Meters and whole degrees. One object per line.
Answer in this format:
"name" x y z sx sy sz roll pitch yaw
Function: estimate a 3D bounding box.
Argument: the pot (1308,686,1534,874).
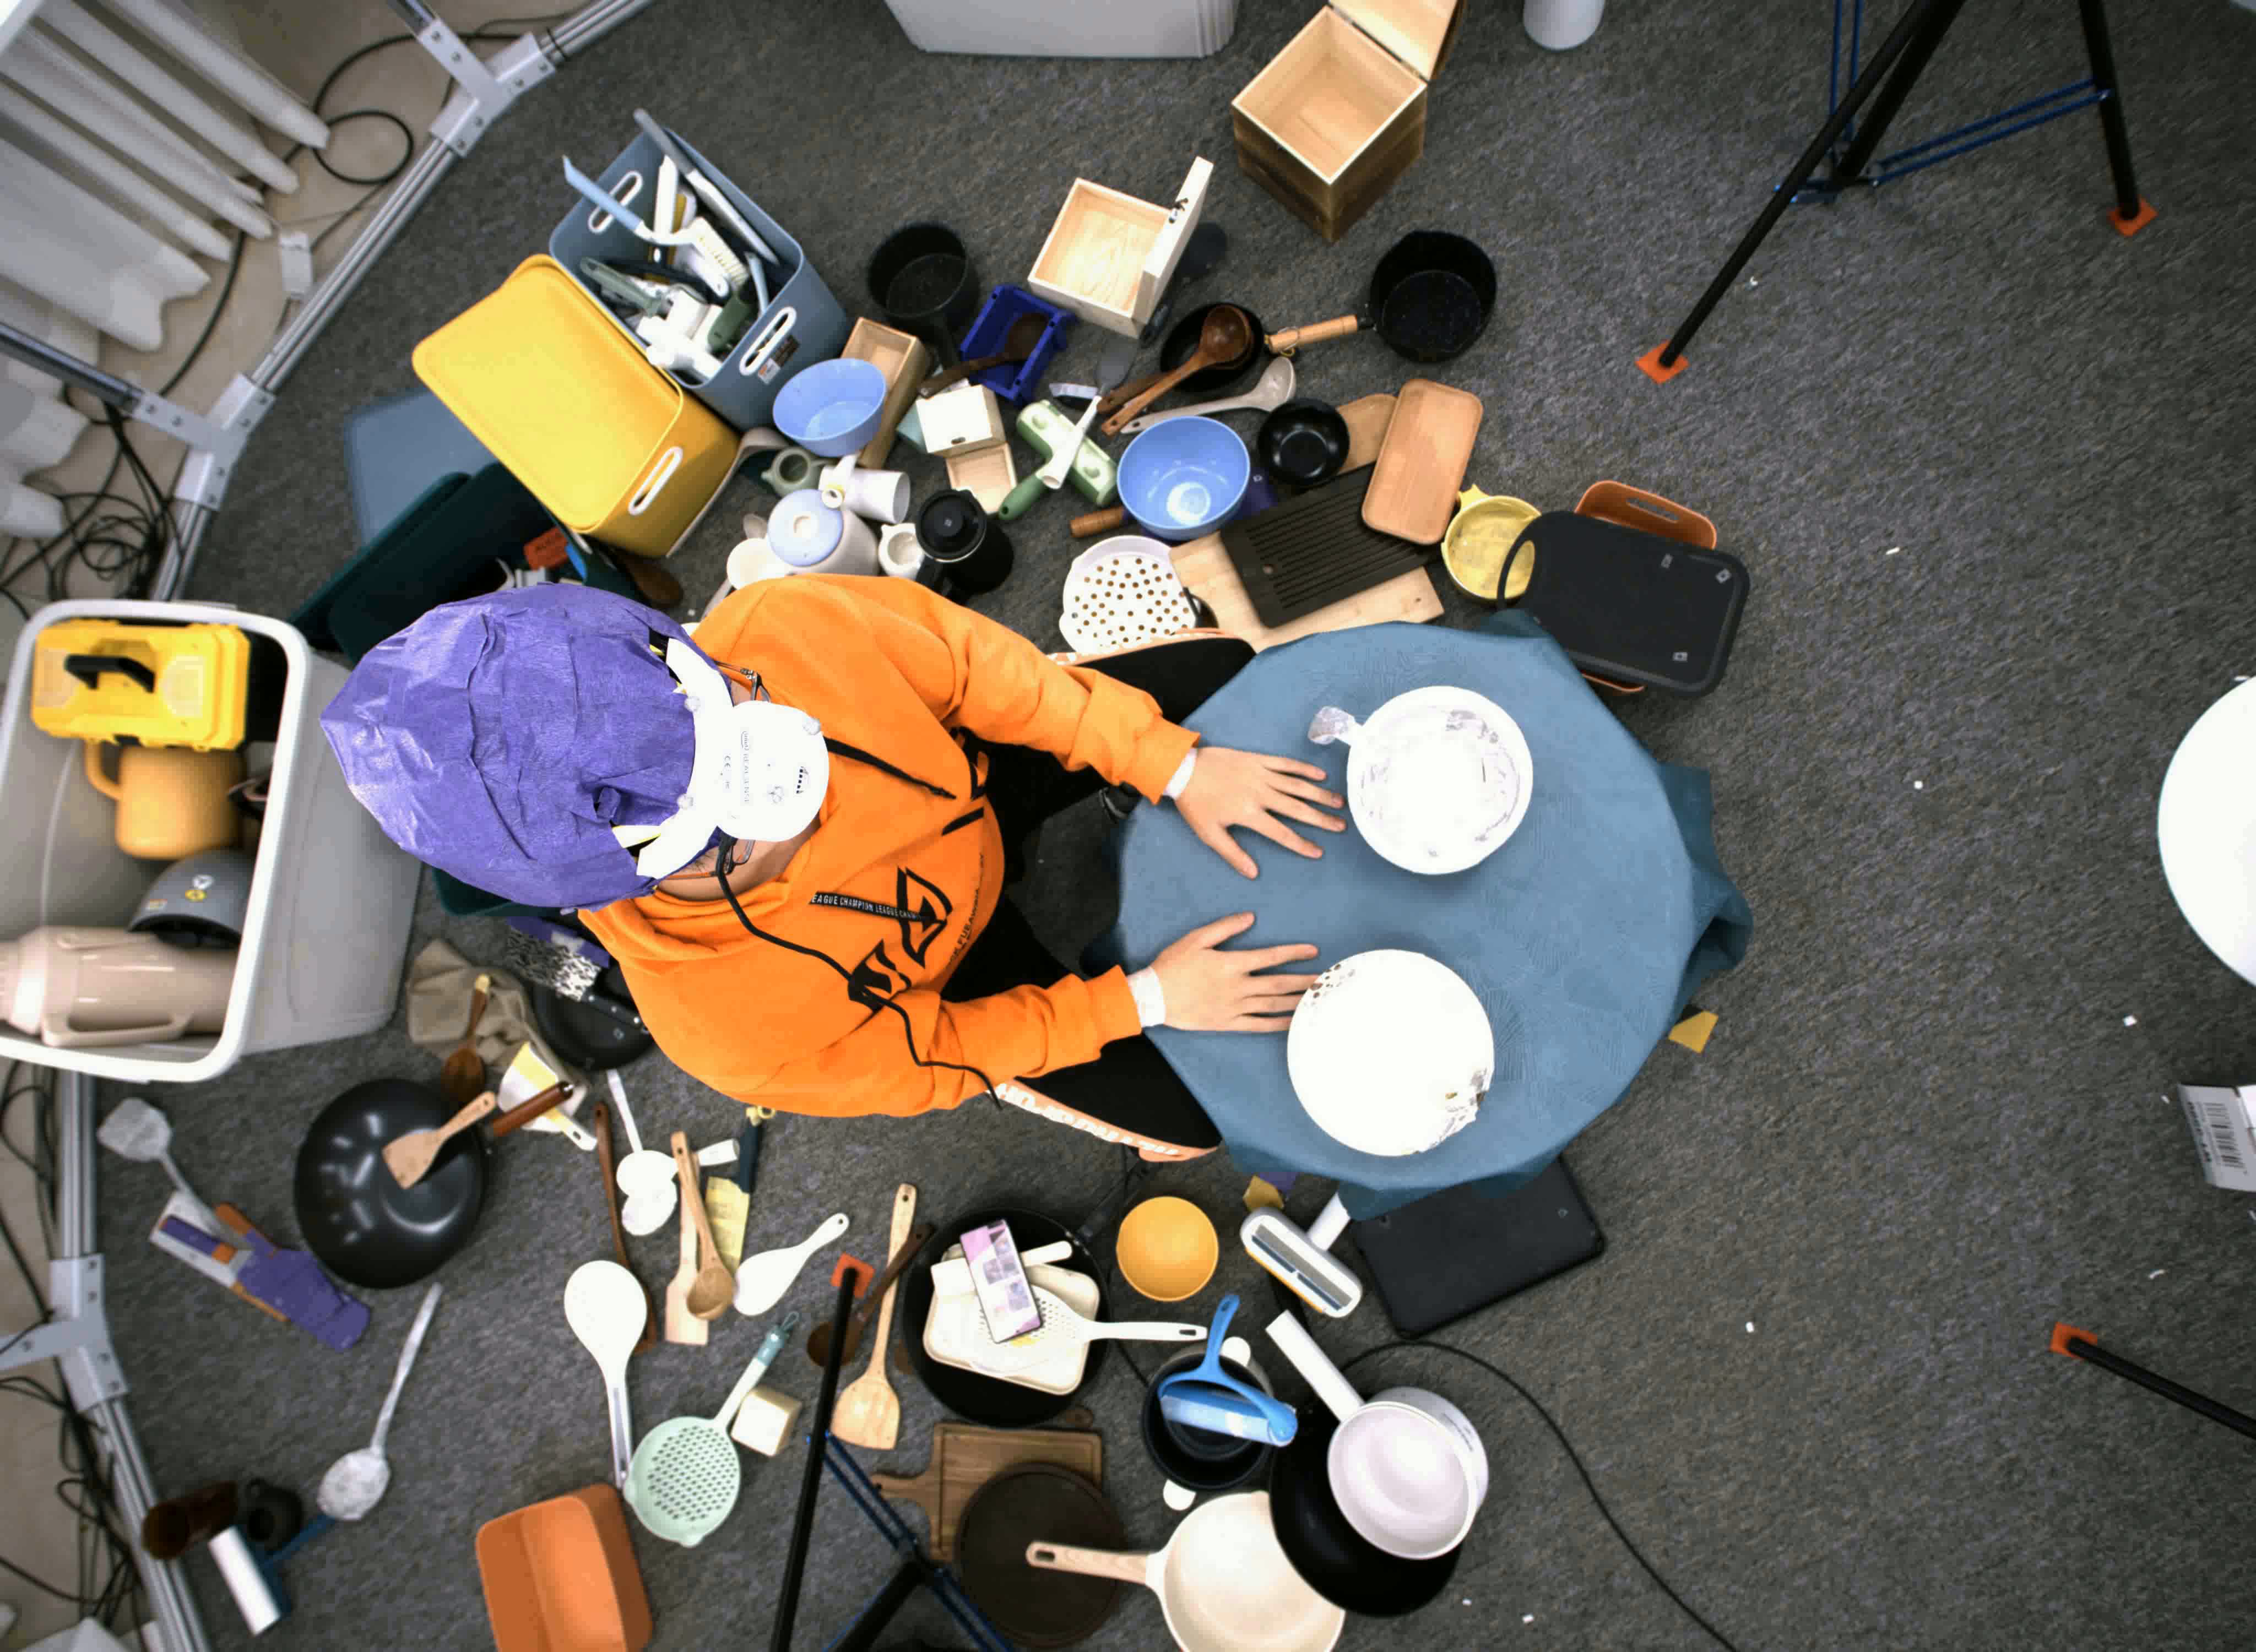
"pot" 0.287 -0.057 1.394 0.233 0.137 0.179 29 91 11

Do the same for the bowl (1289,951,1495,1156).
"bowl" 0.270 0.229 1.415 0.205 0.078 0.203 -1 85 14
